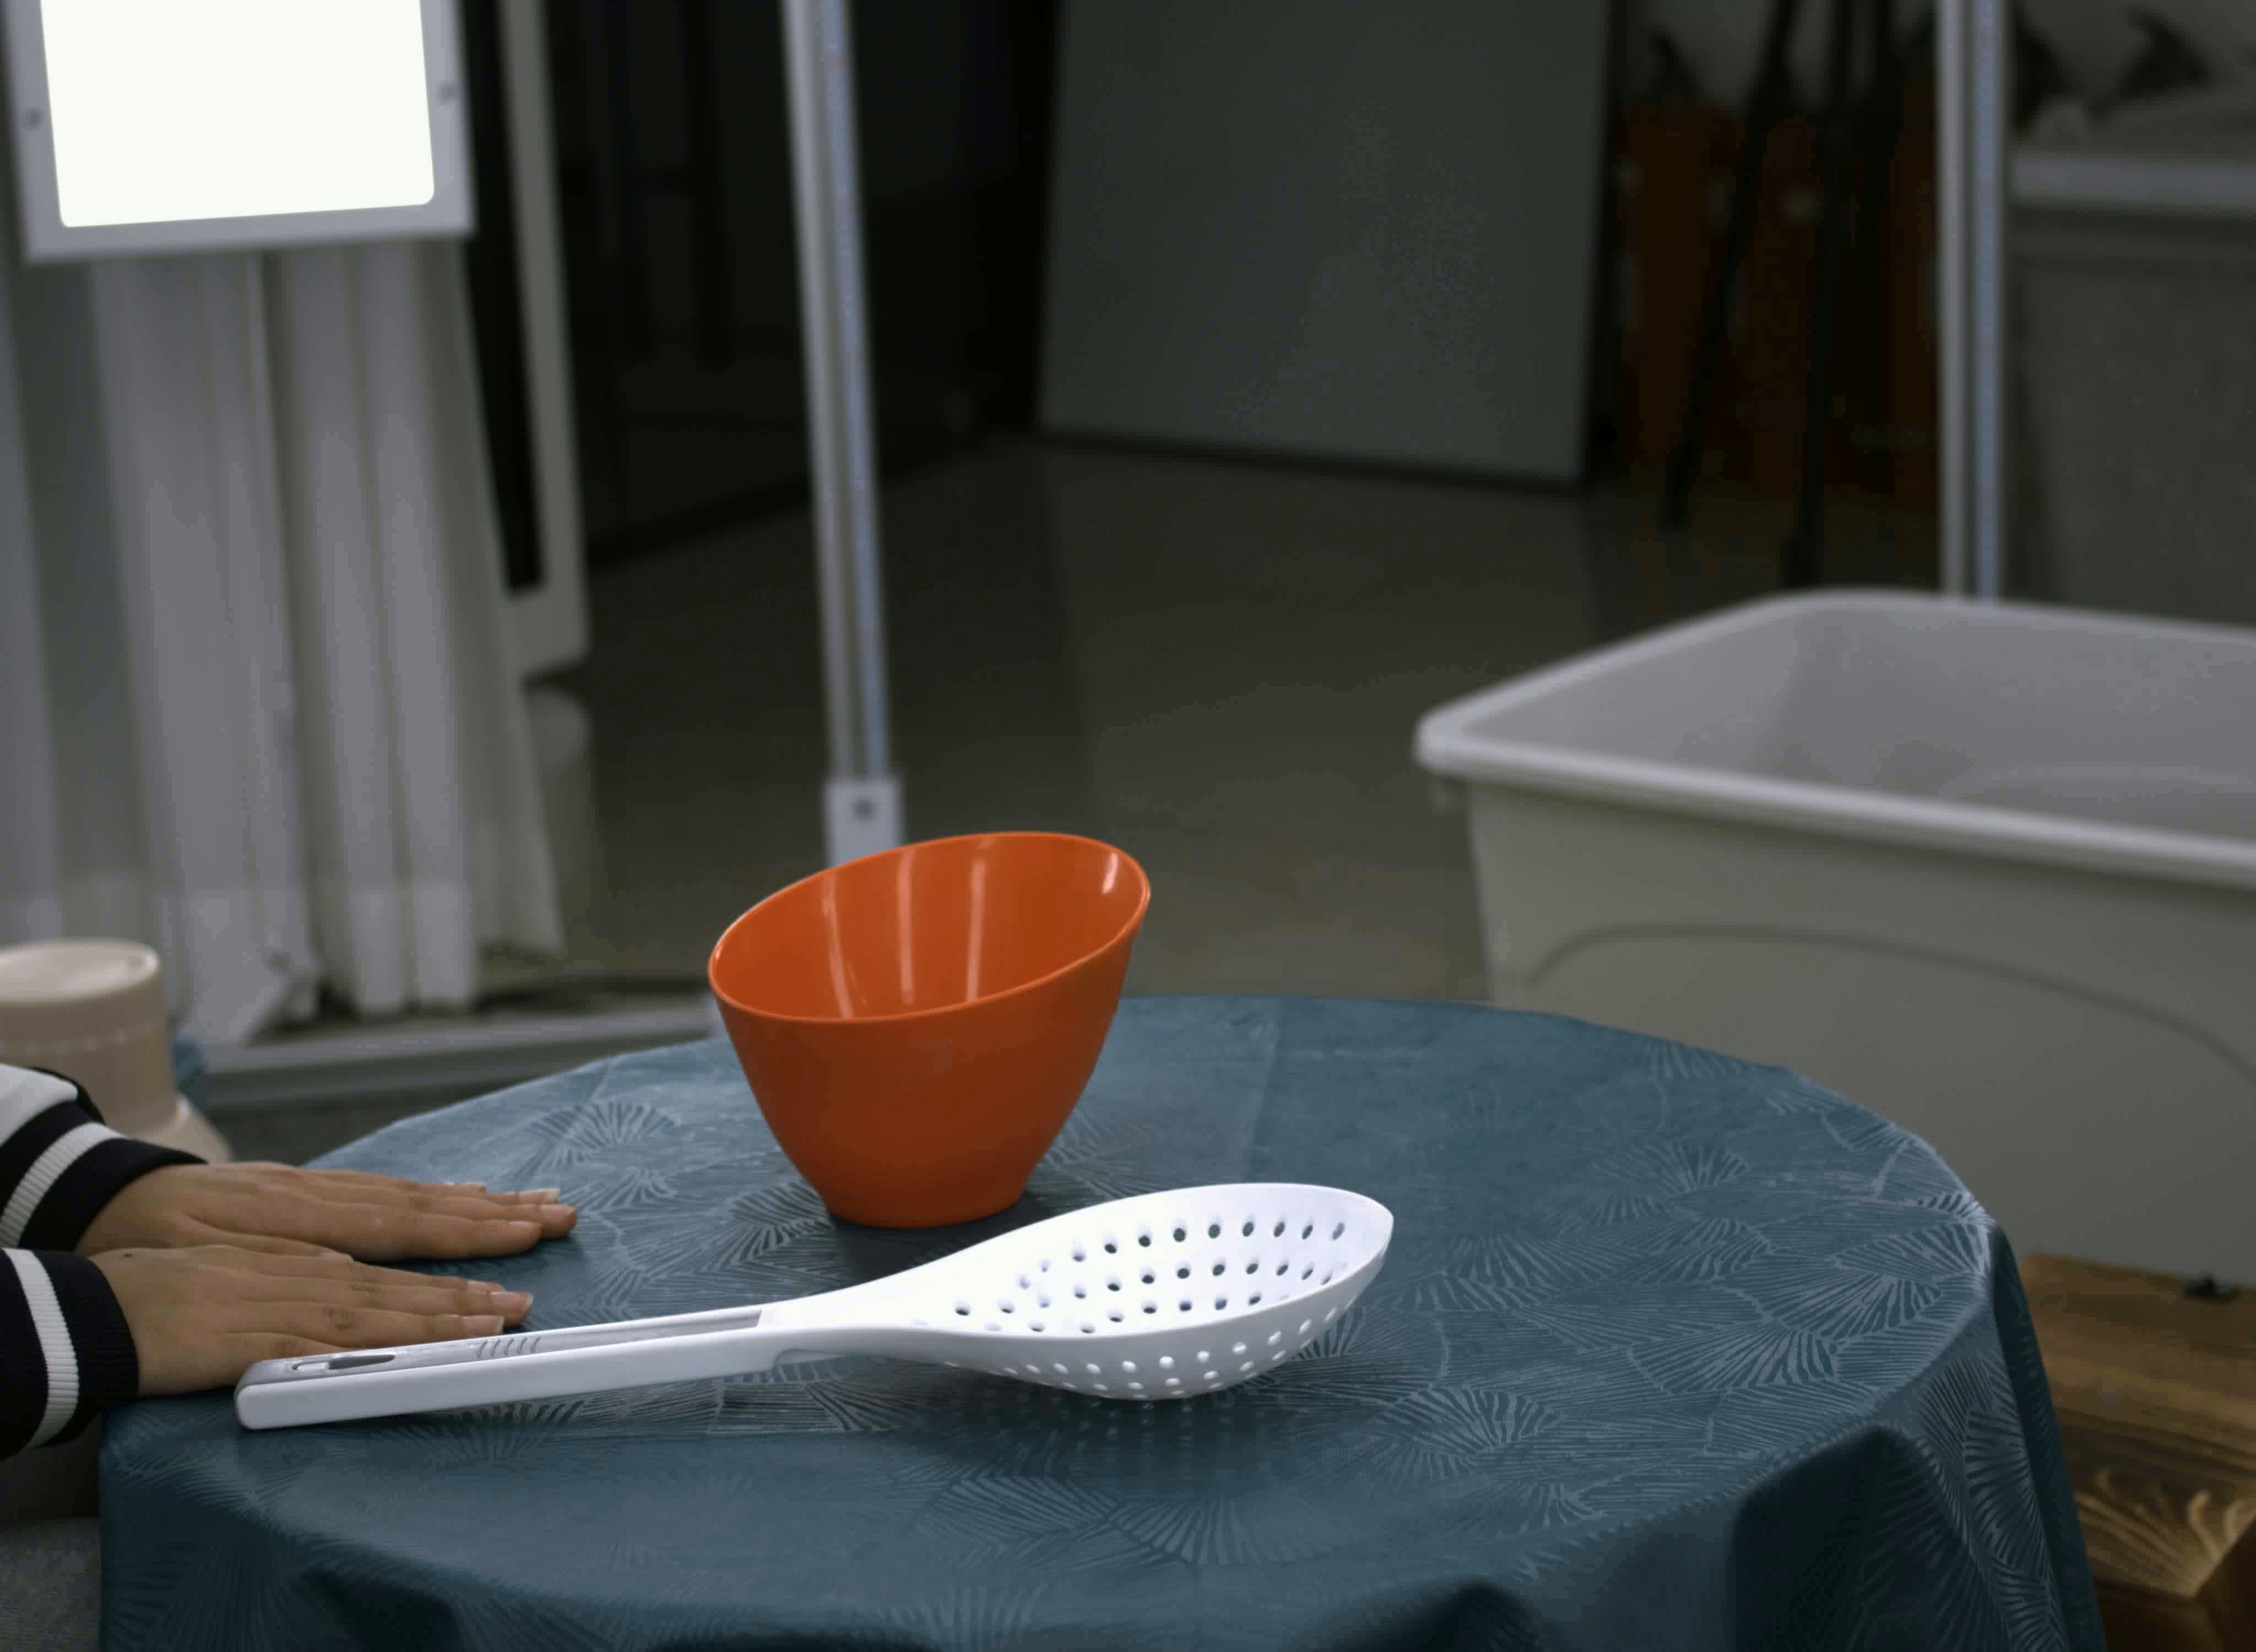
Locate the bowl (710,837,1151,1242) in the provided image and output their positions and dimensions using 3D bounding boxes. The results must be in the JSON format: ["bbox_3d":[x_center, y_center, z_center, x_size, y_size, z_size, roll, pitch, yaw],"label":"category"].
[{"bbox_3d":[-0.062,0.074,1.774,0.146,0.106,0.148,-4,15,0],"label":"bowl"}]

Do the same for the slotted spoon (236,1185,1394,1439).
[{"bbox_3d":[-0.093,0.149,1.591,0.346,0.046,0.136,-4,12,5],"label":"slotted spoon"}]
